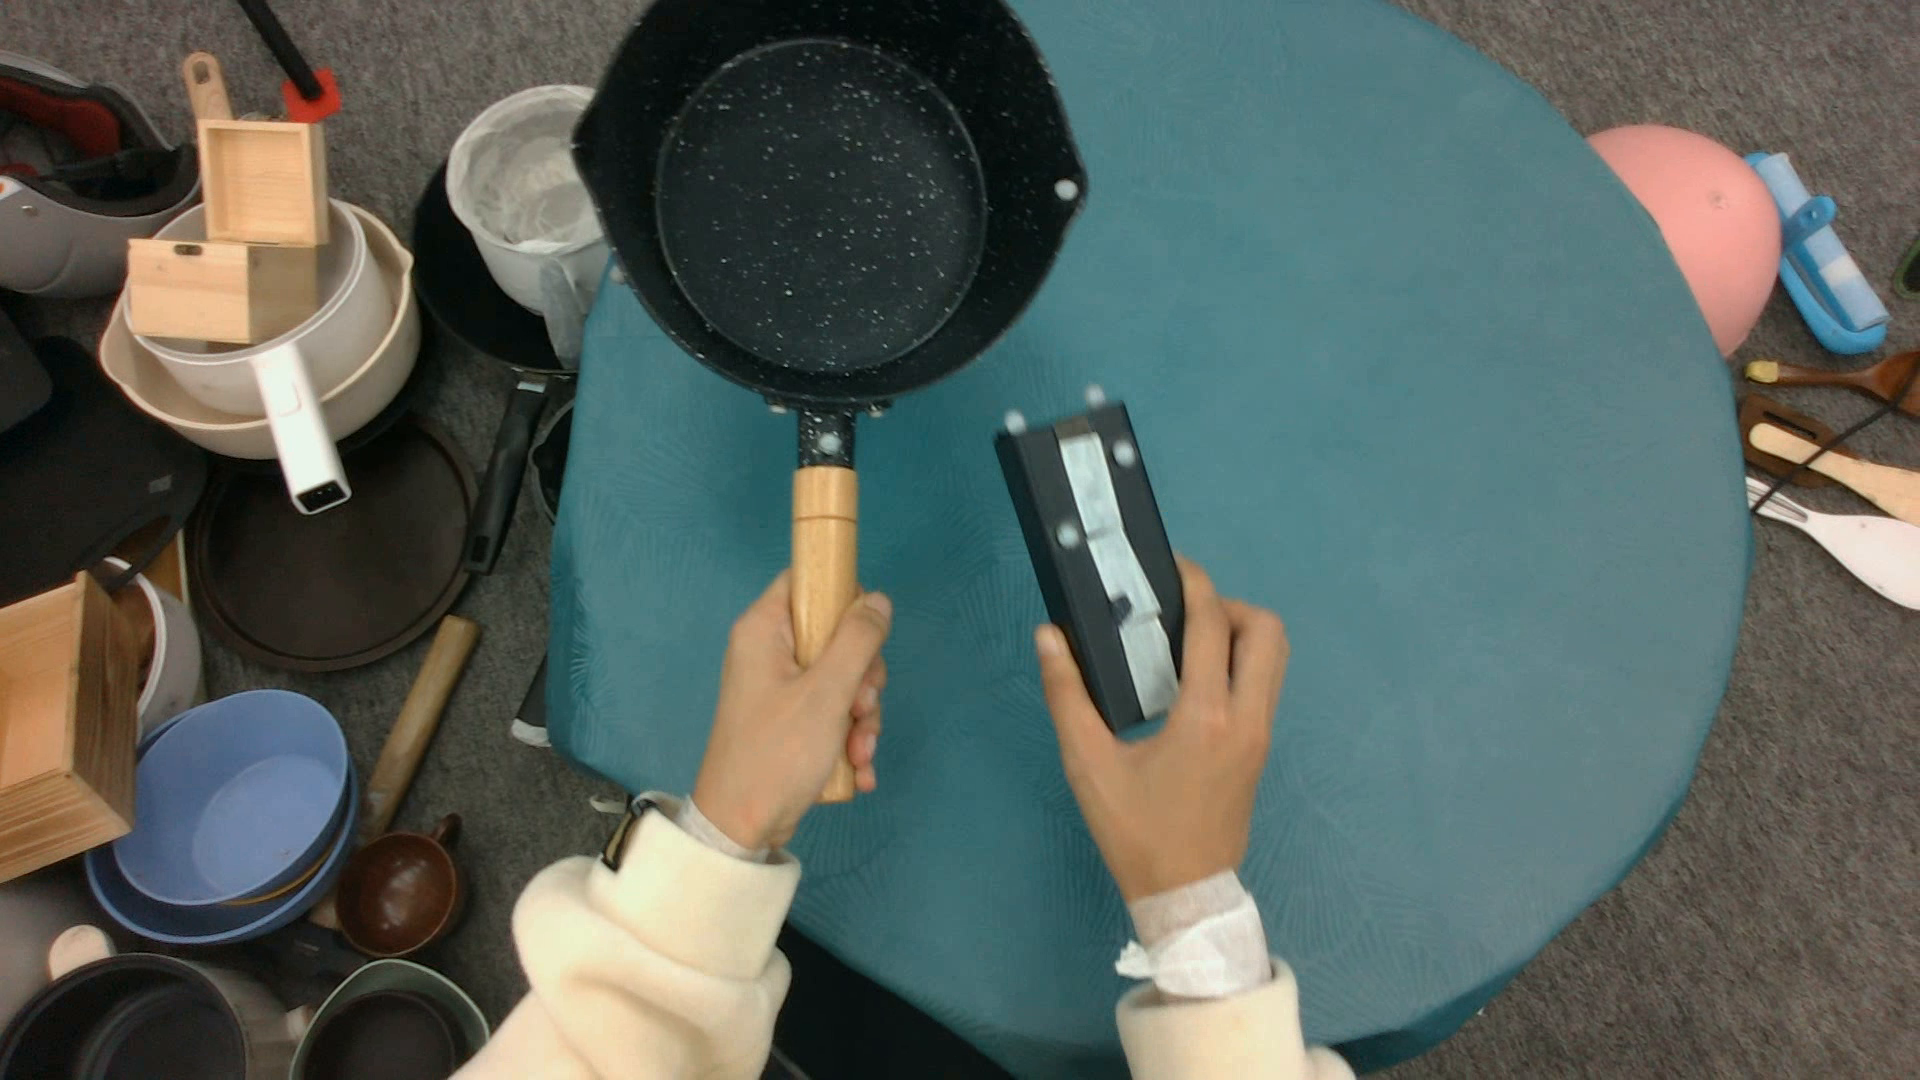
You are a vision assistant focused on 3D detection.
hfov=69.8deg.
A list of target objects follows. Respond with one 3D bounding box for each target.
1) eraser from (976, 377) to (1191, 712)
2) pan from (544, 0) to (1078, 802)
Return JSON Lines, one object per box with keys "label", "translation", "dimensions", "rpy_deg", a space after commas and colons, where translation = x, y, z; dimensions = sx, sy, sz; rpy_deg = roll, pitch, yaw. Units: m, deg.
{"label": "eraser", "translation": [0.049, 0.002, 0.552], "dimensions": [0.053, 0.030, 0.125], "rpy_deg": [-18, 94, -15]}
{"label": "pan", "translation": [-0.060, -0.072, 0.563], "dimensions": [0.208, 0.108, 0.342], "rpy_deg": [0, 91, -12]}
